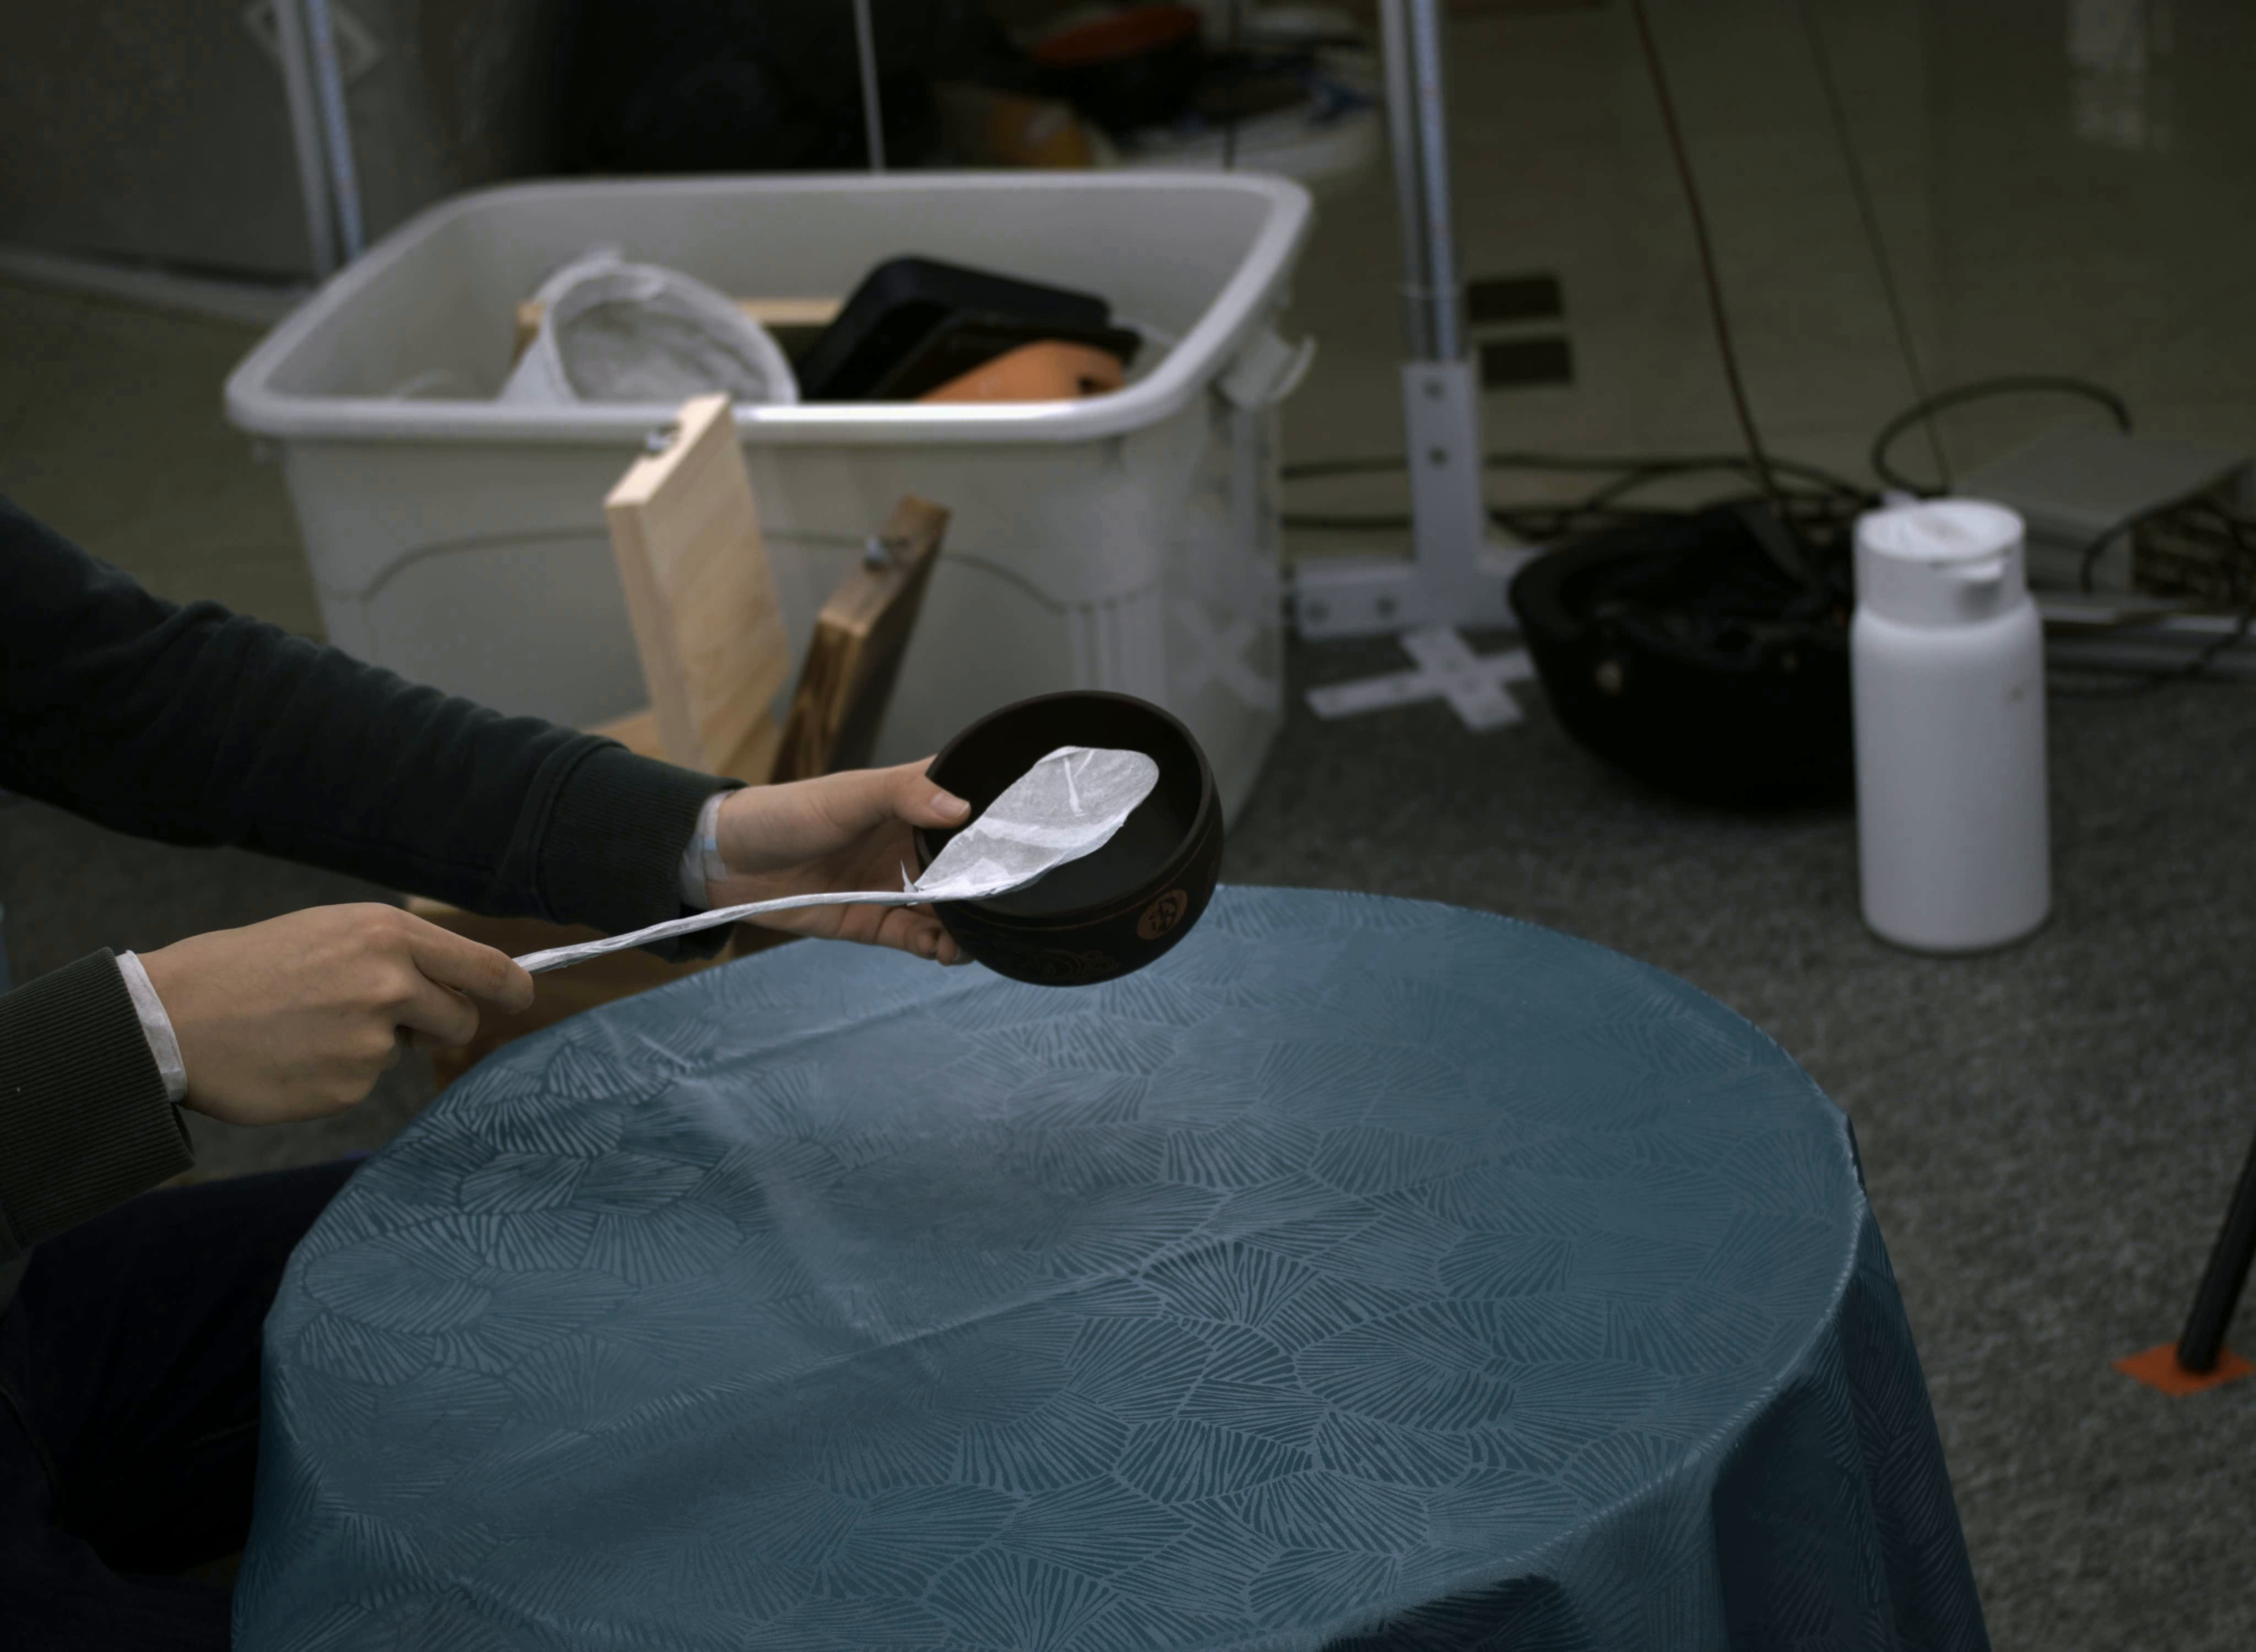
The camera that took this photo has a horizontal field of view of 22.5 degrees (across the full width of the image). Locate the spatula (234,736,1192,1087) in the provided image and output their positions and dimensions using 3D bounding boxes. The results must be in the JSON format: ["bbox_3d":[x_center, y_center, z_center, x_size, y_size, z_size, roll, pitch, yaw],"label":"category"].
[{"bbox_3d":[-0.141,0.027,1.949,0.363,0.045,0.098,-14,11,-30],"label":"spatula"}]

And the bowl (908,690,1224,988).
[{"bbox_3d":[-0.020,0.013,2.133,0.118,0.071,0.116,-7,47,8],"label":"bowl"}]
